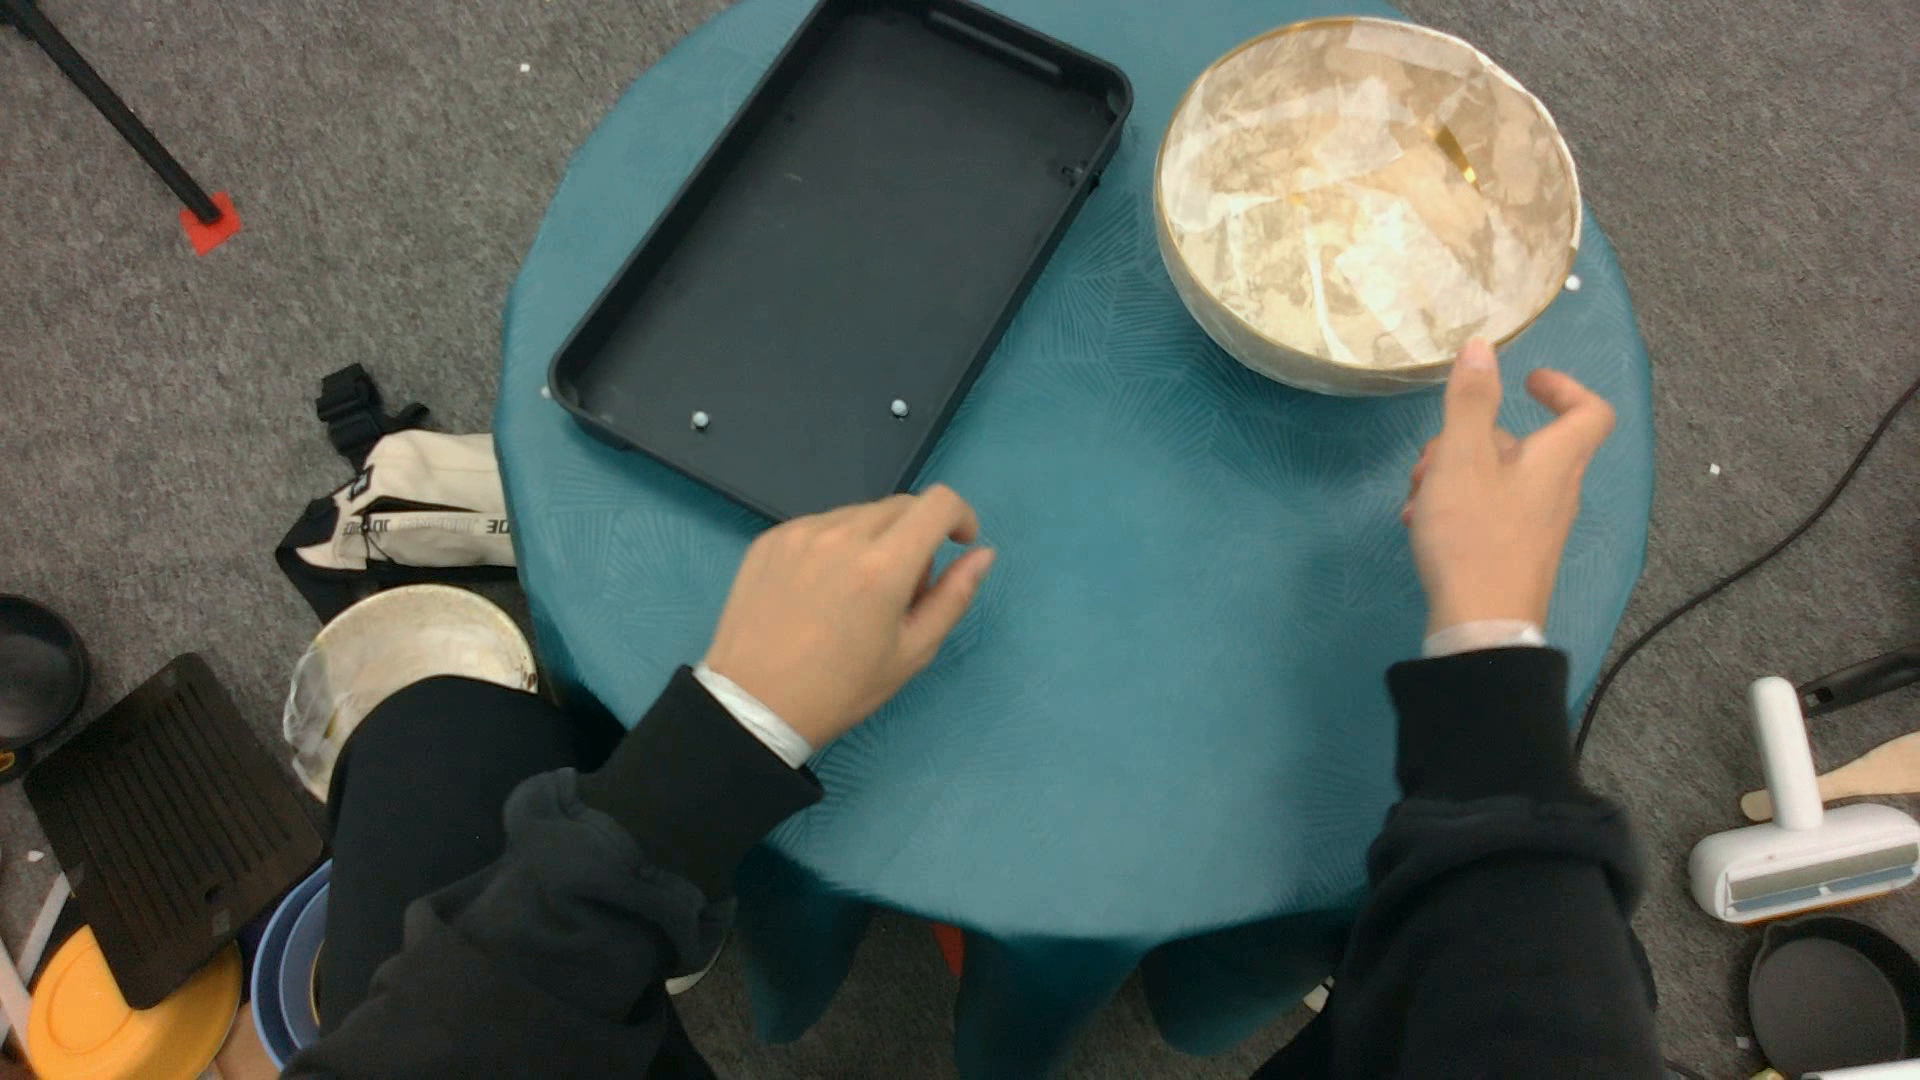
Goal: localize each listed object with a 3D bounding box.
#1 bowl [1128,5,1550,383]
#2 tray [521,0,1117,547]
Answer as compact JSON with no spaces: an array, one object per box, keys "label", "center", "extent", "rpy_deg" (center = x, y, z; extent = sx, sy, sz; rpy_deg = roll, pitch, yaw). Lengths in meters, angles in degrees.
[{"label":"bowl","center":[0.178,-0.161,0.701],"extent":[0.215,0.094,0.215],"rpy_deg":[1,70,-3]},{"label":"tray","center":[-0.065,-0.161,0.725],"extent":[0.184,0.037,0.319],"rpy_deg":[29,69,10]}]
